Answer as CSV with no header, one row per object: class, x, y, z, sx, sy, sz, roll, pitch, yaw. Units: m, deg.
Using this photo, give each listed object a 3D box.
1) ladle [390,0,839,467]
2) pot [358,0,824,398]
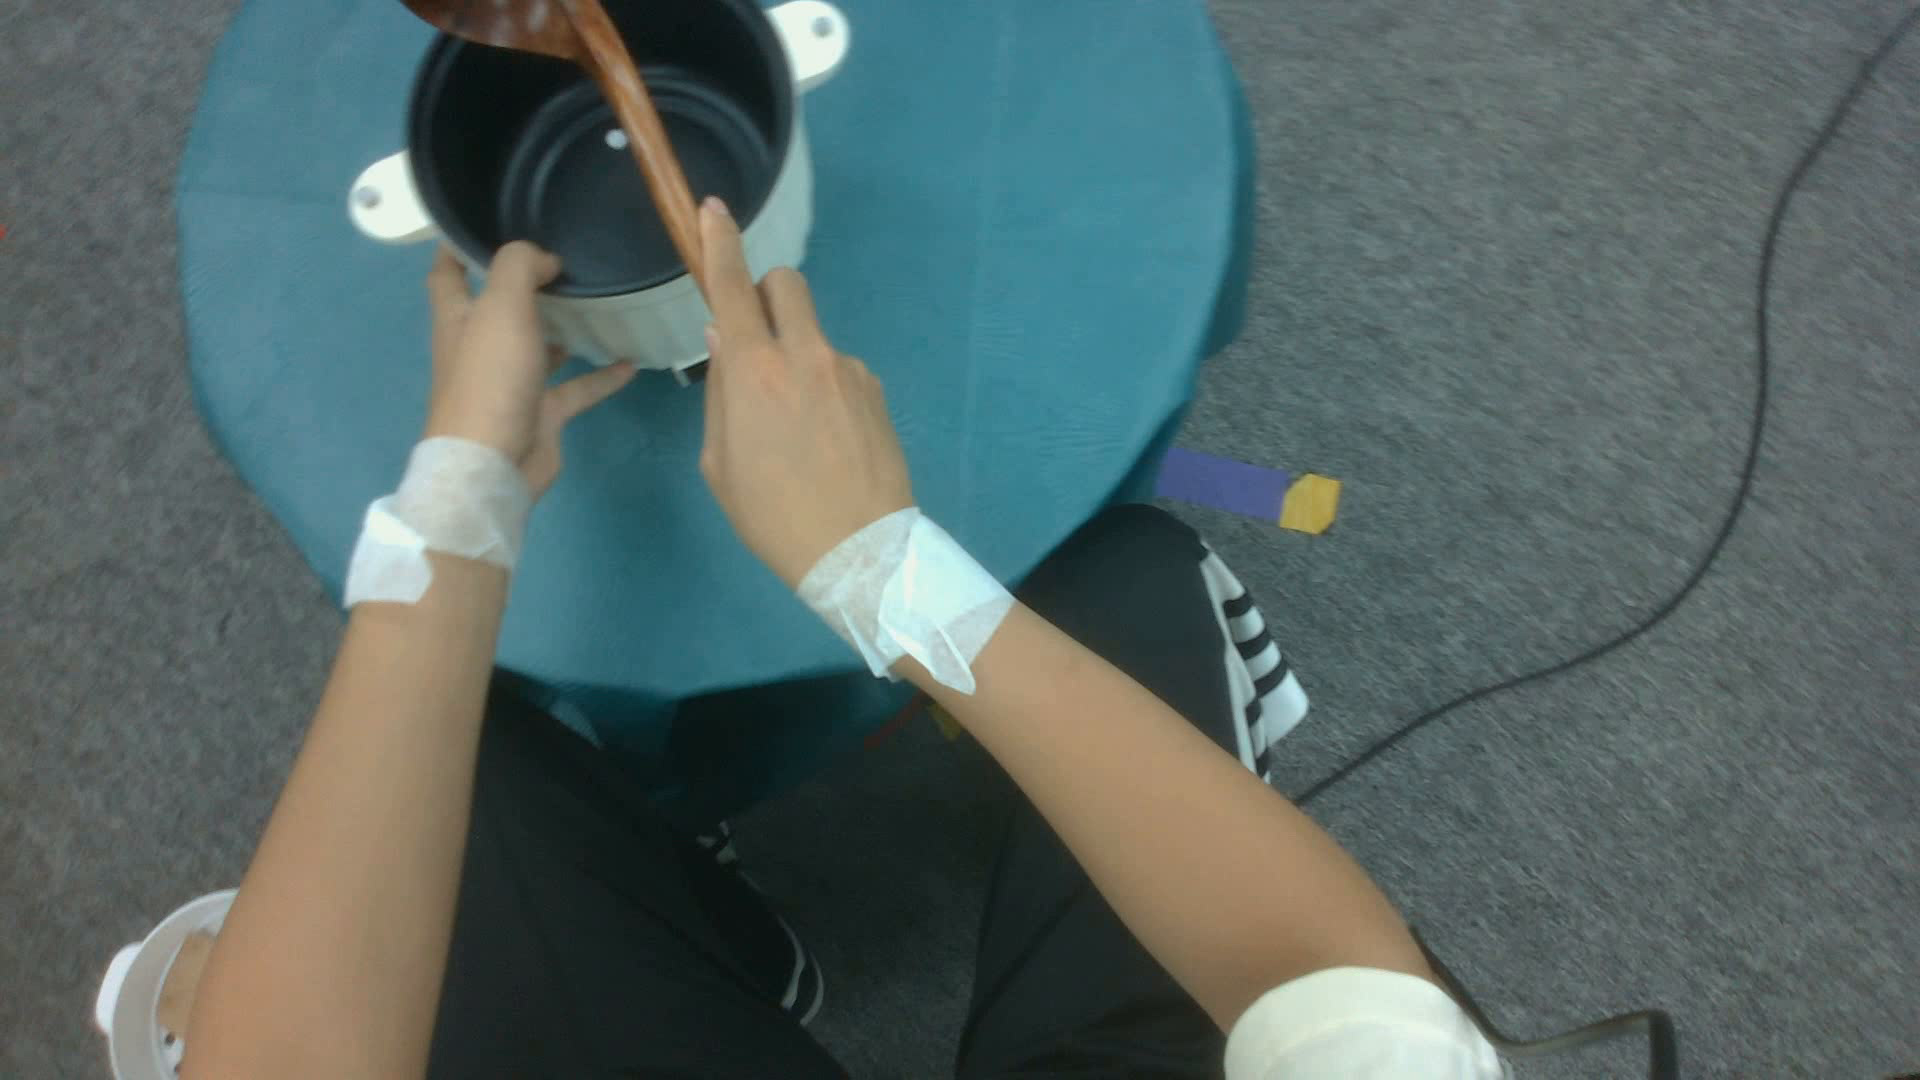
ladle,-0.150,-0.138,0.591,0.077,0.082,0.274,-29,88,-9
pot,-0.179,-0.180,0.724,0.240,0.142,0.190,-25,81,-6
